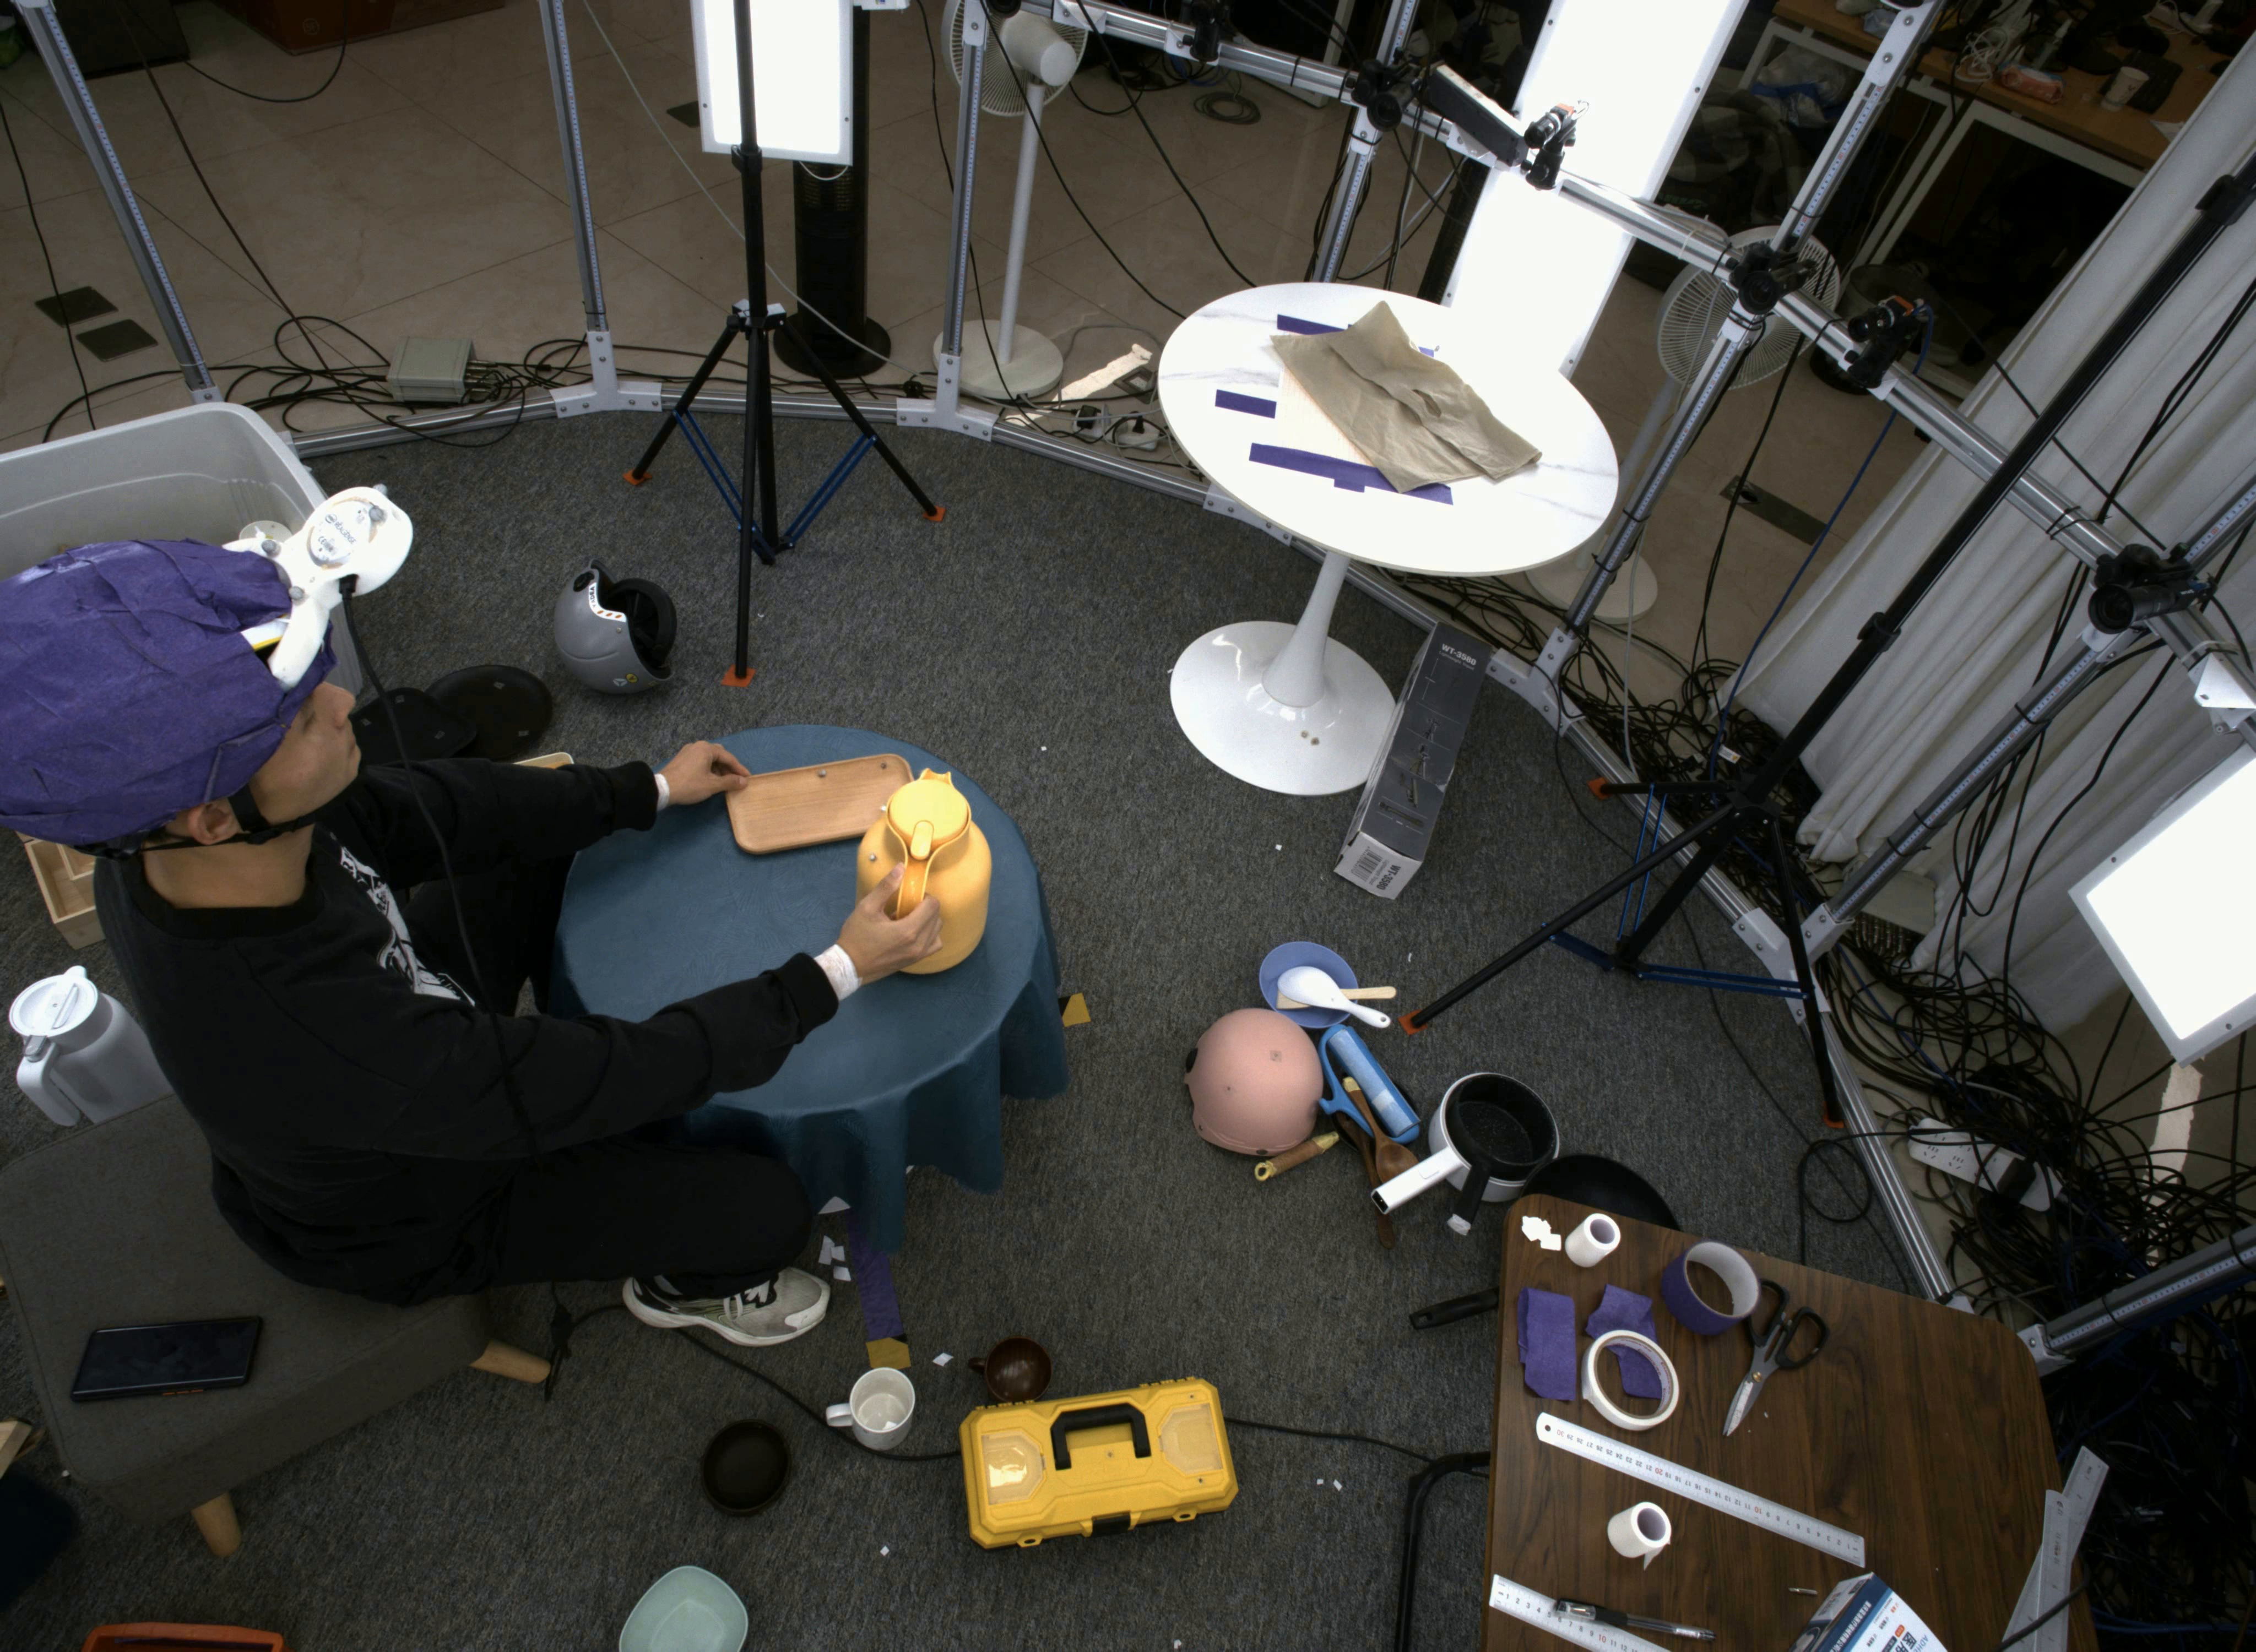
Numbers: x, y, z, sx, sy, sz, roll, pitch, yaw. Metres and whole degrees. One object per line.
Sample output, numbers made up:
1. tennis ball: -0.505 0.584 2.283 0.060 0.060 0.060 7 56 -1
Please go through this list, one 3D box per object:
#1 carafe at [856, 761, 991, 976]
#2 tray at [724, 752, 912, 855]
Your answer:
1. carafe: -0.249 0.065 1.548 0.162 0.267 0.199 10 49 -1
2. tray: -0.408 -0.031 1.738 0.252 0.023 0.127 -11 55 -21
